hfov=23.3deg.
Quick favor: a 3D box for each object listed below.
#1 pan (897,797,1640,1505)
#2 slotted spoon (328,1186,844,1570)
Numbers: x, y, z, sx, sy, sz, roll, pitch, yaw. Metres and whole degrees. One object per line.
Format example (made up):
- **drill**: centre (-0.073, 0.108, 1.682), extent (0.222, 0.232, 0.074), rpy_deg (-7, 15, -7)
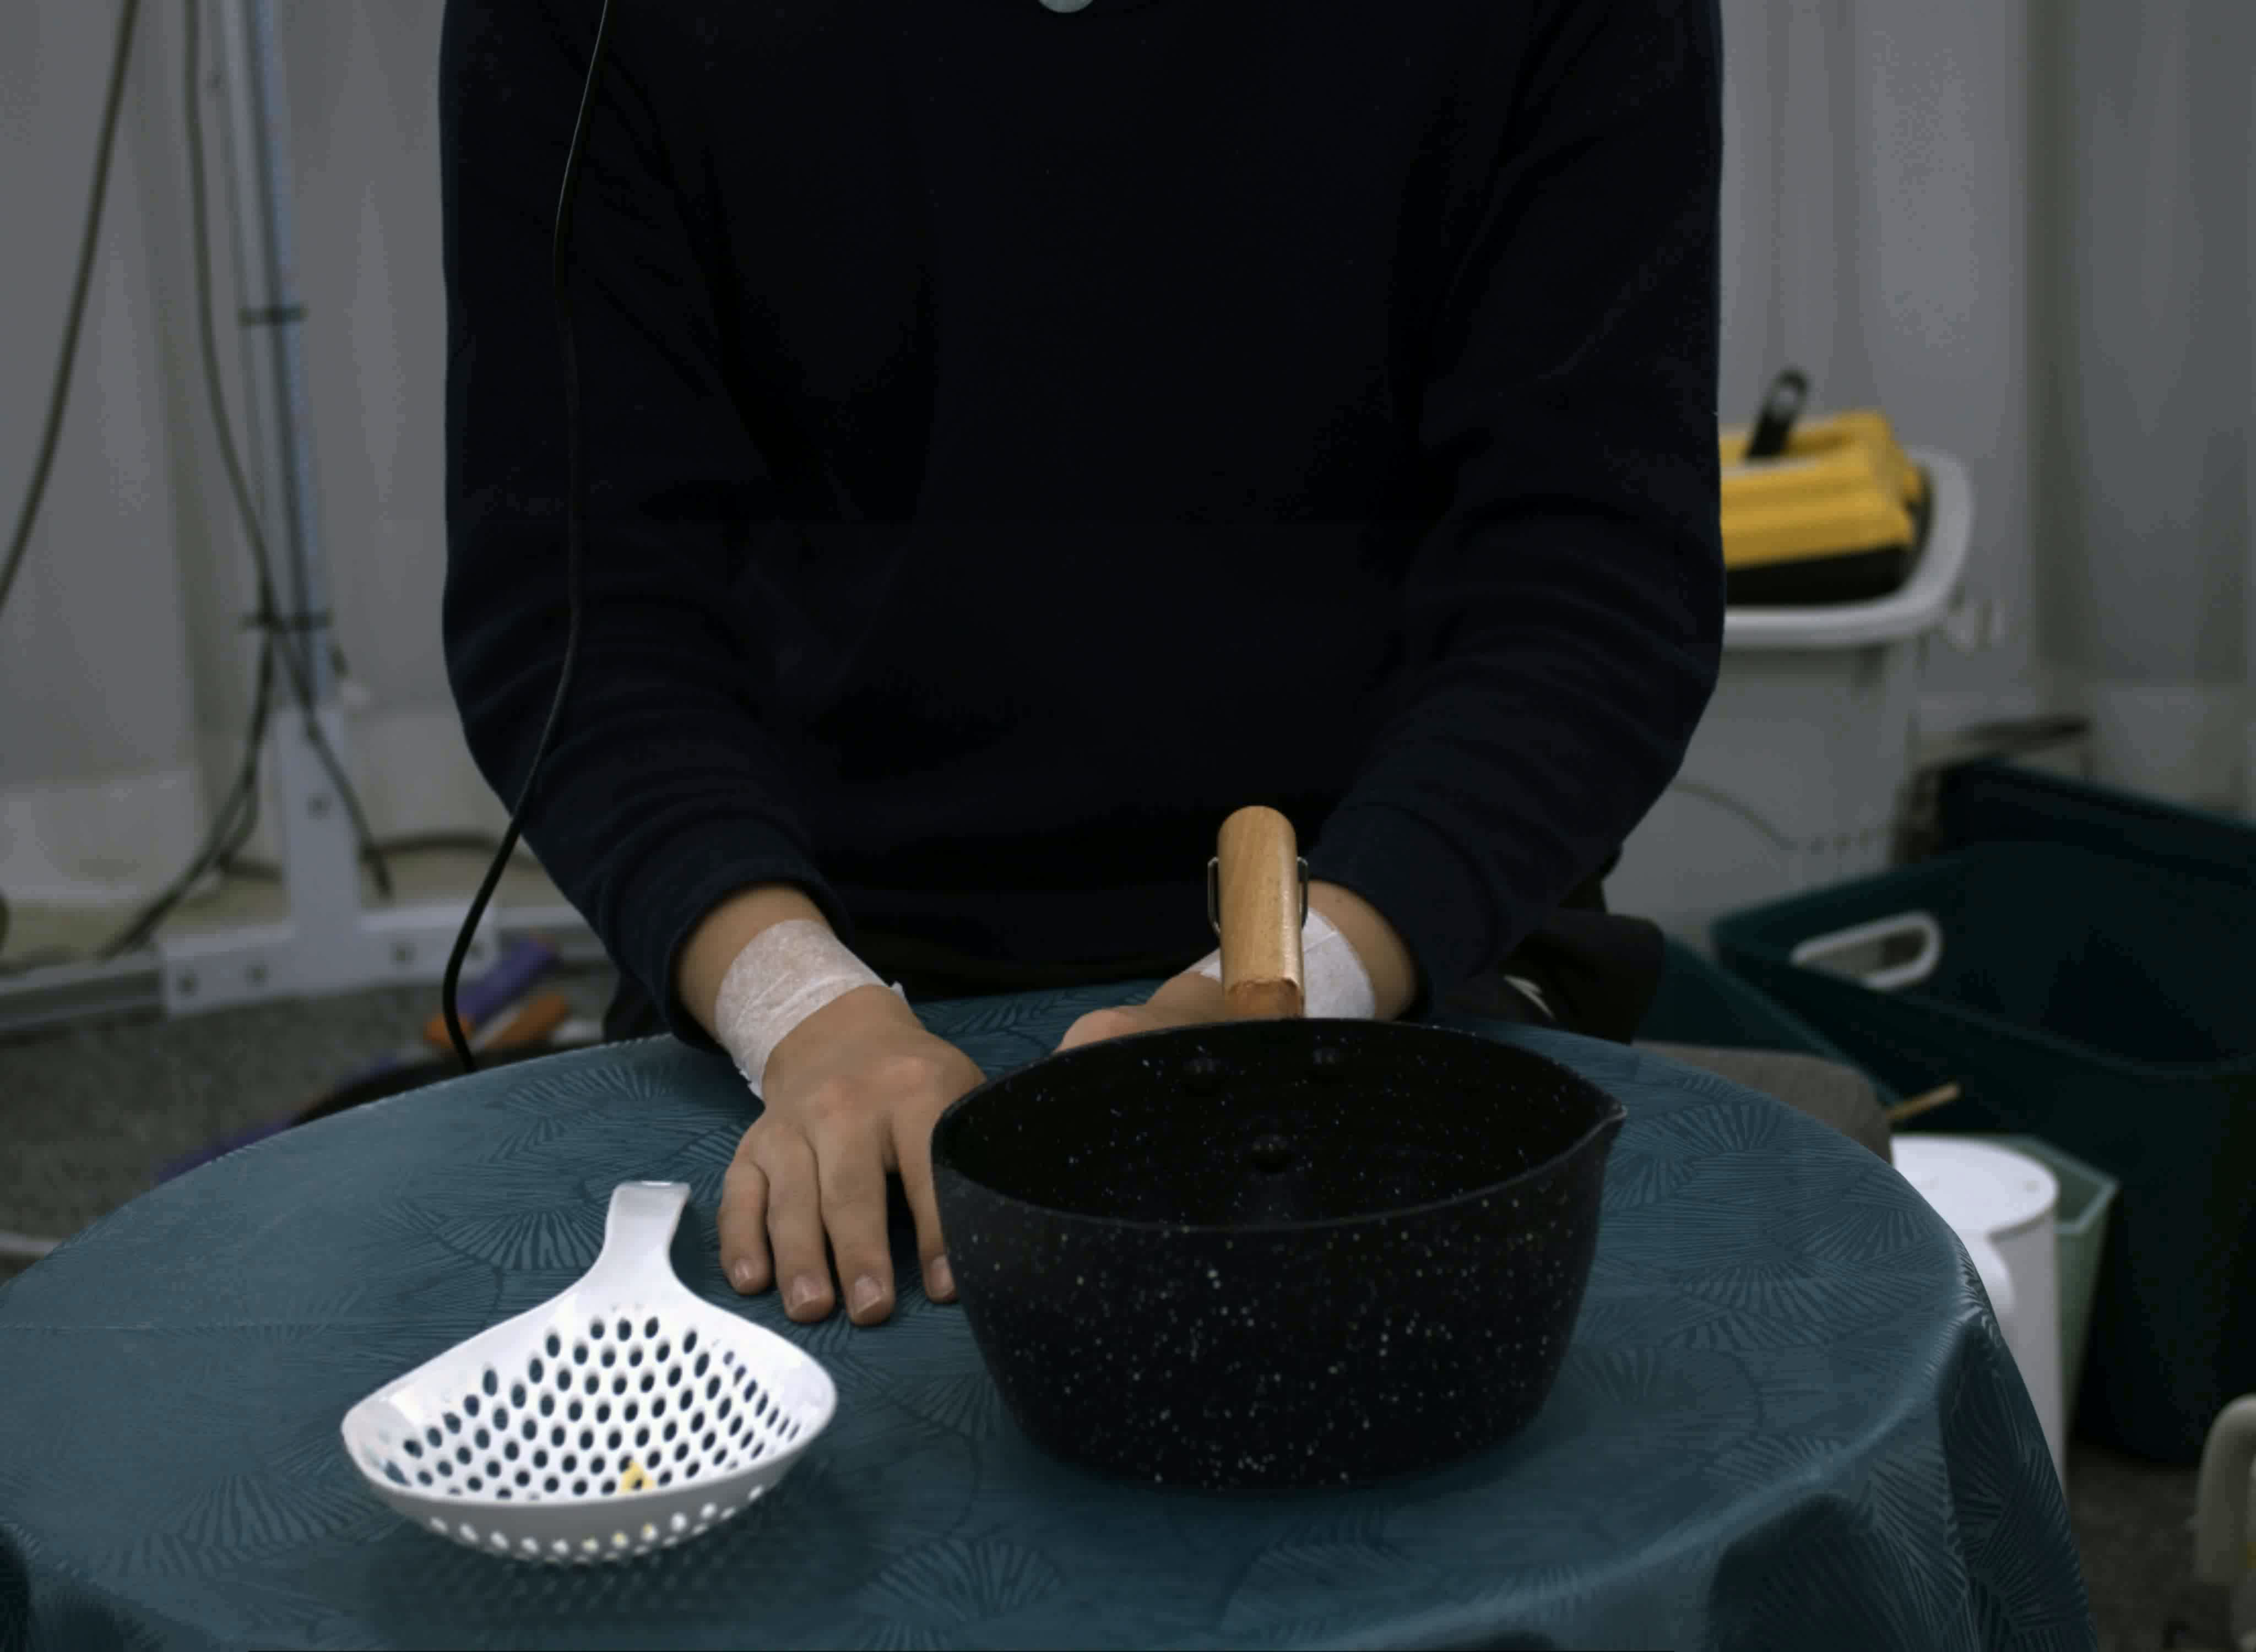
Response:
- **pan**: centre (0.040, 0.089, 1.597), extent (0.207, 0.108, 0.345), rpy_deg (-4, 16, 1)
- **slotted spoon**: centre (-0.145, 0.142, 1.558), extent (0.136, 0.050, 0.350), rpy_deg (-5, 17, -1)
